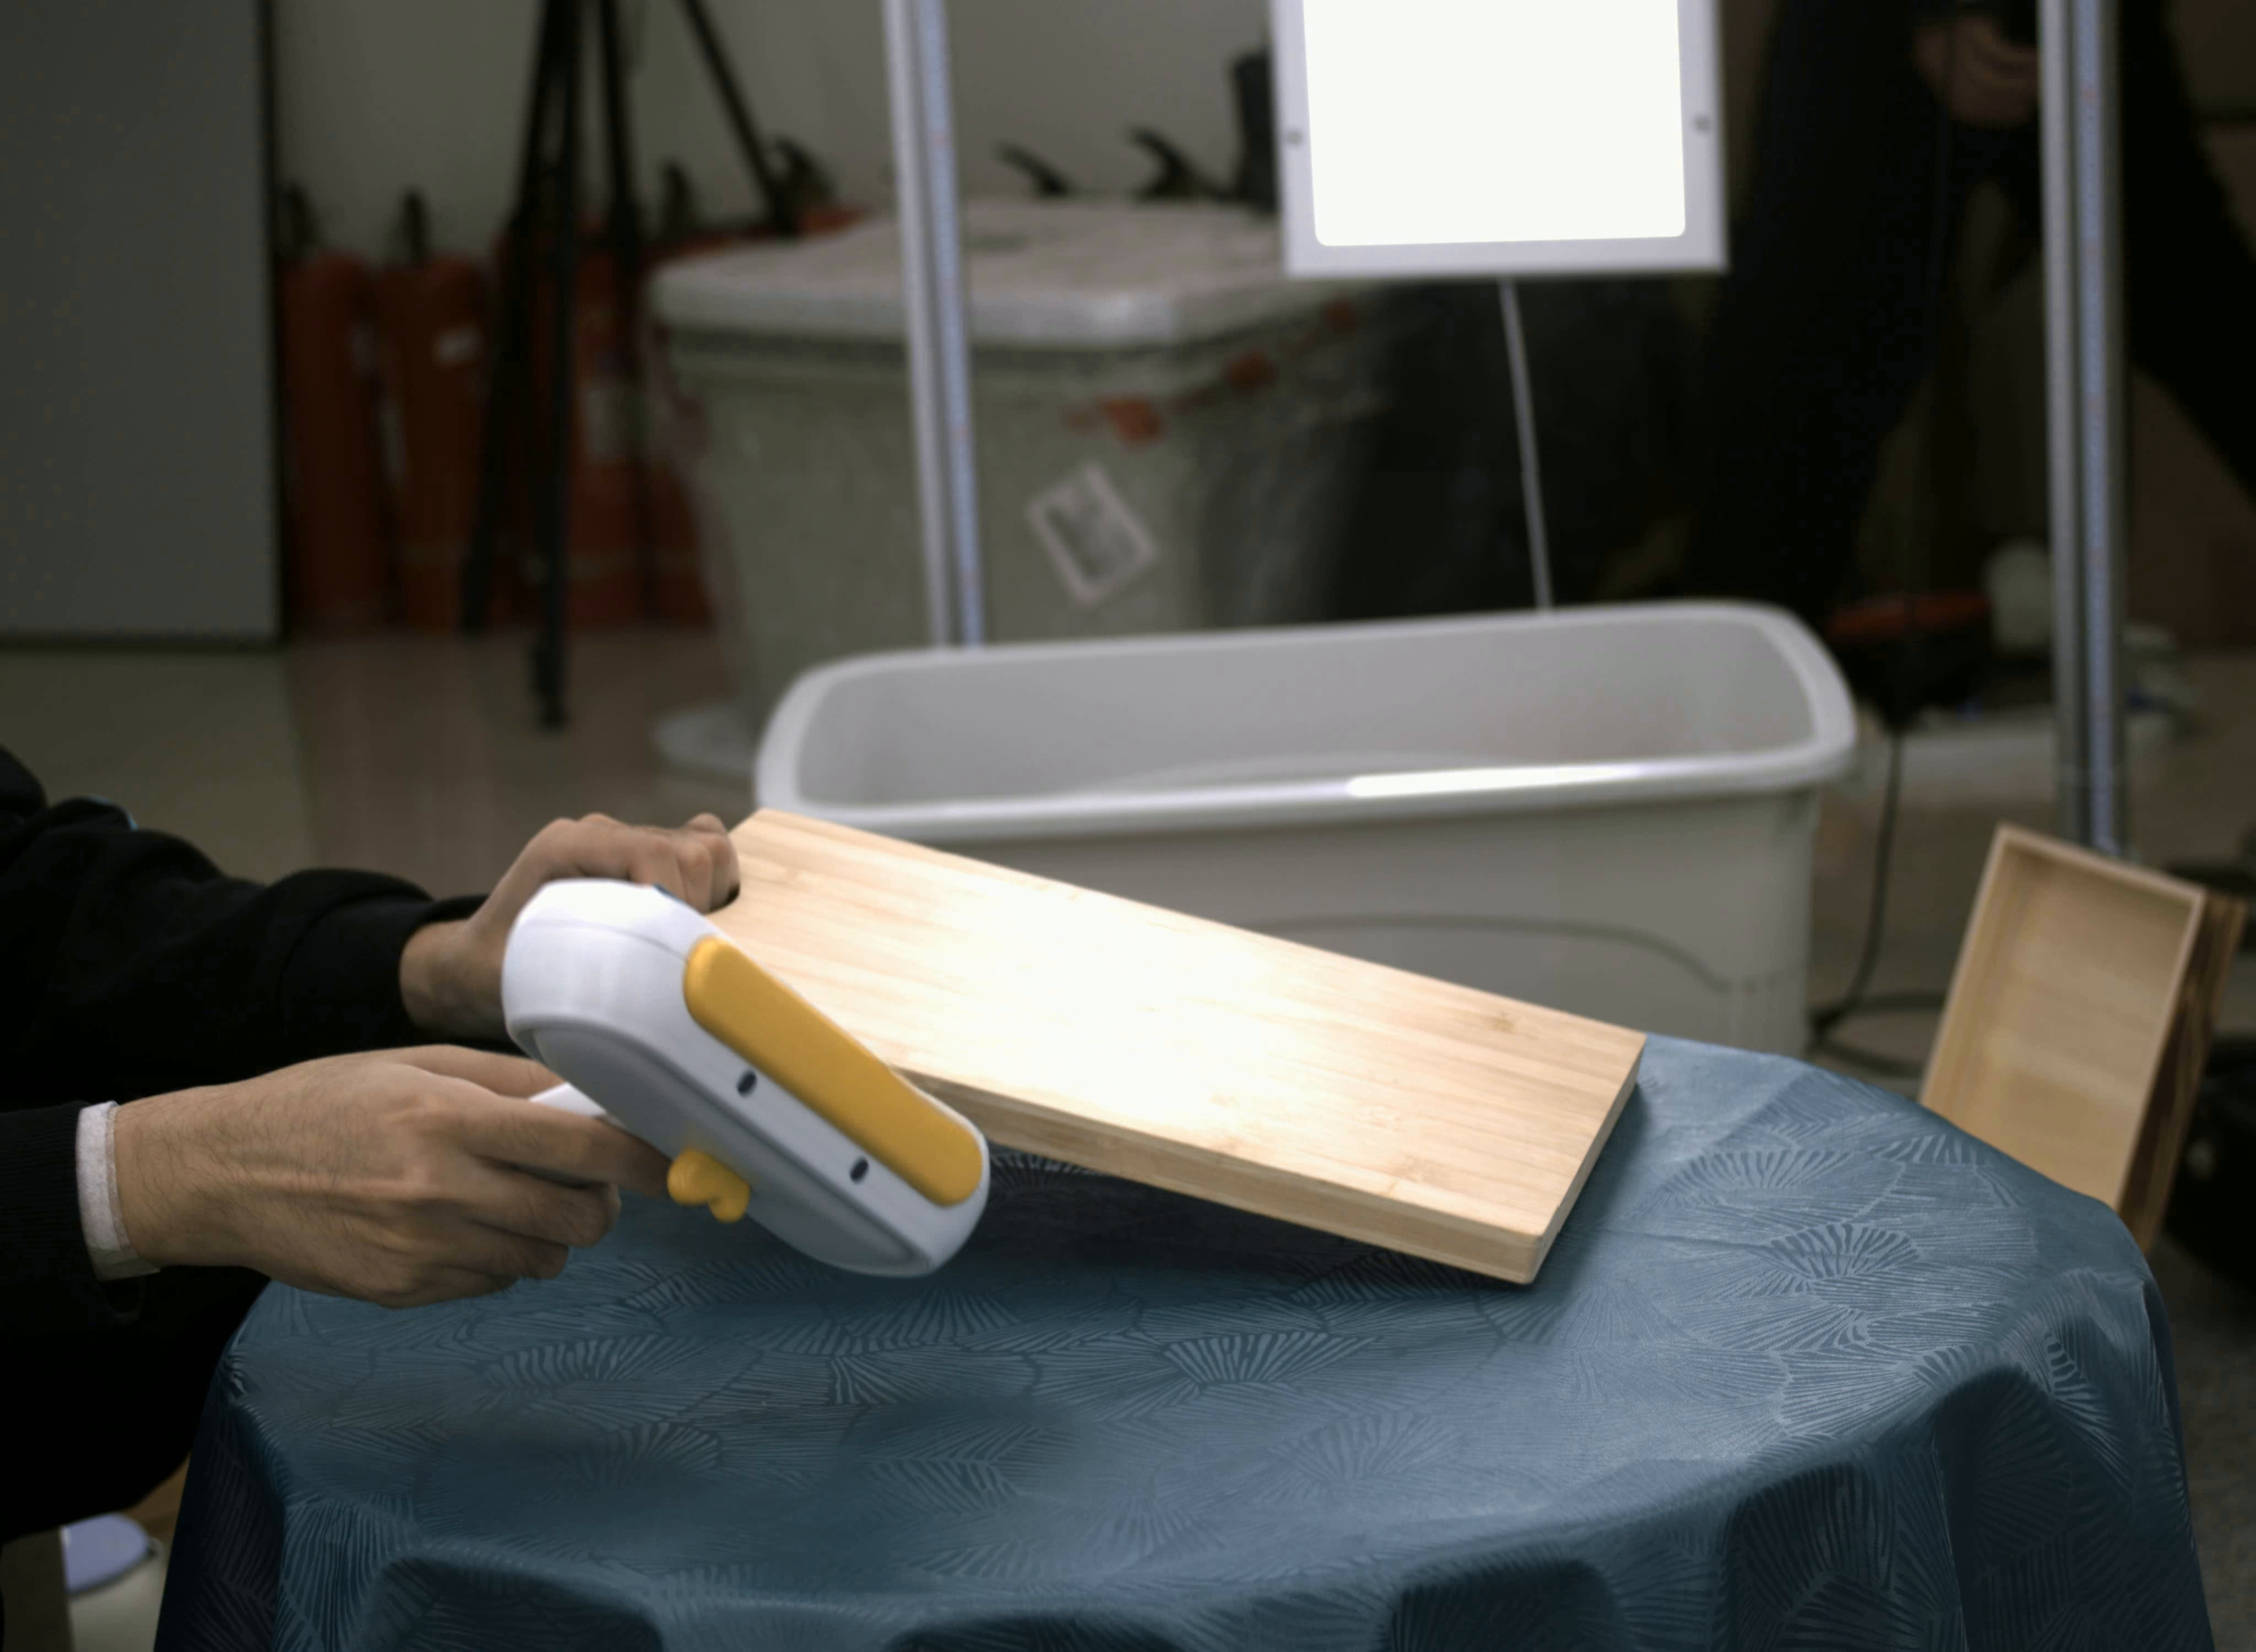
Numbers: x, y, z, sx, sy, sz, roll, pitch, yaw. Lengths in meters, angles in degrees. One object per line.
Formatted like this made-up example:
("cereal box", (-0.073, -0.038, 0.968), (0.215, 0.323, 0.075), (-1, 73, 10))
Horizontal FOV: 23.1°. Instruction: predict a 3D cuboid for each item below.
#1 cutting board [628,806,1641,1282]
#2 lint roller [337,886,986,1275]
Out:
("cutting board", (-0.009, 0.070, 1.901), (0.351, 0.024, 0.247), (14, 17, 11))
("lint roller", (-0.164, 0.093, 1.687), (0.197, 0.074, 0.189), (-12, -32, 38))
